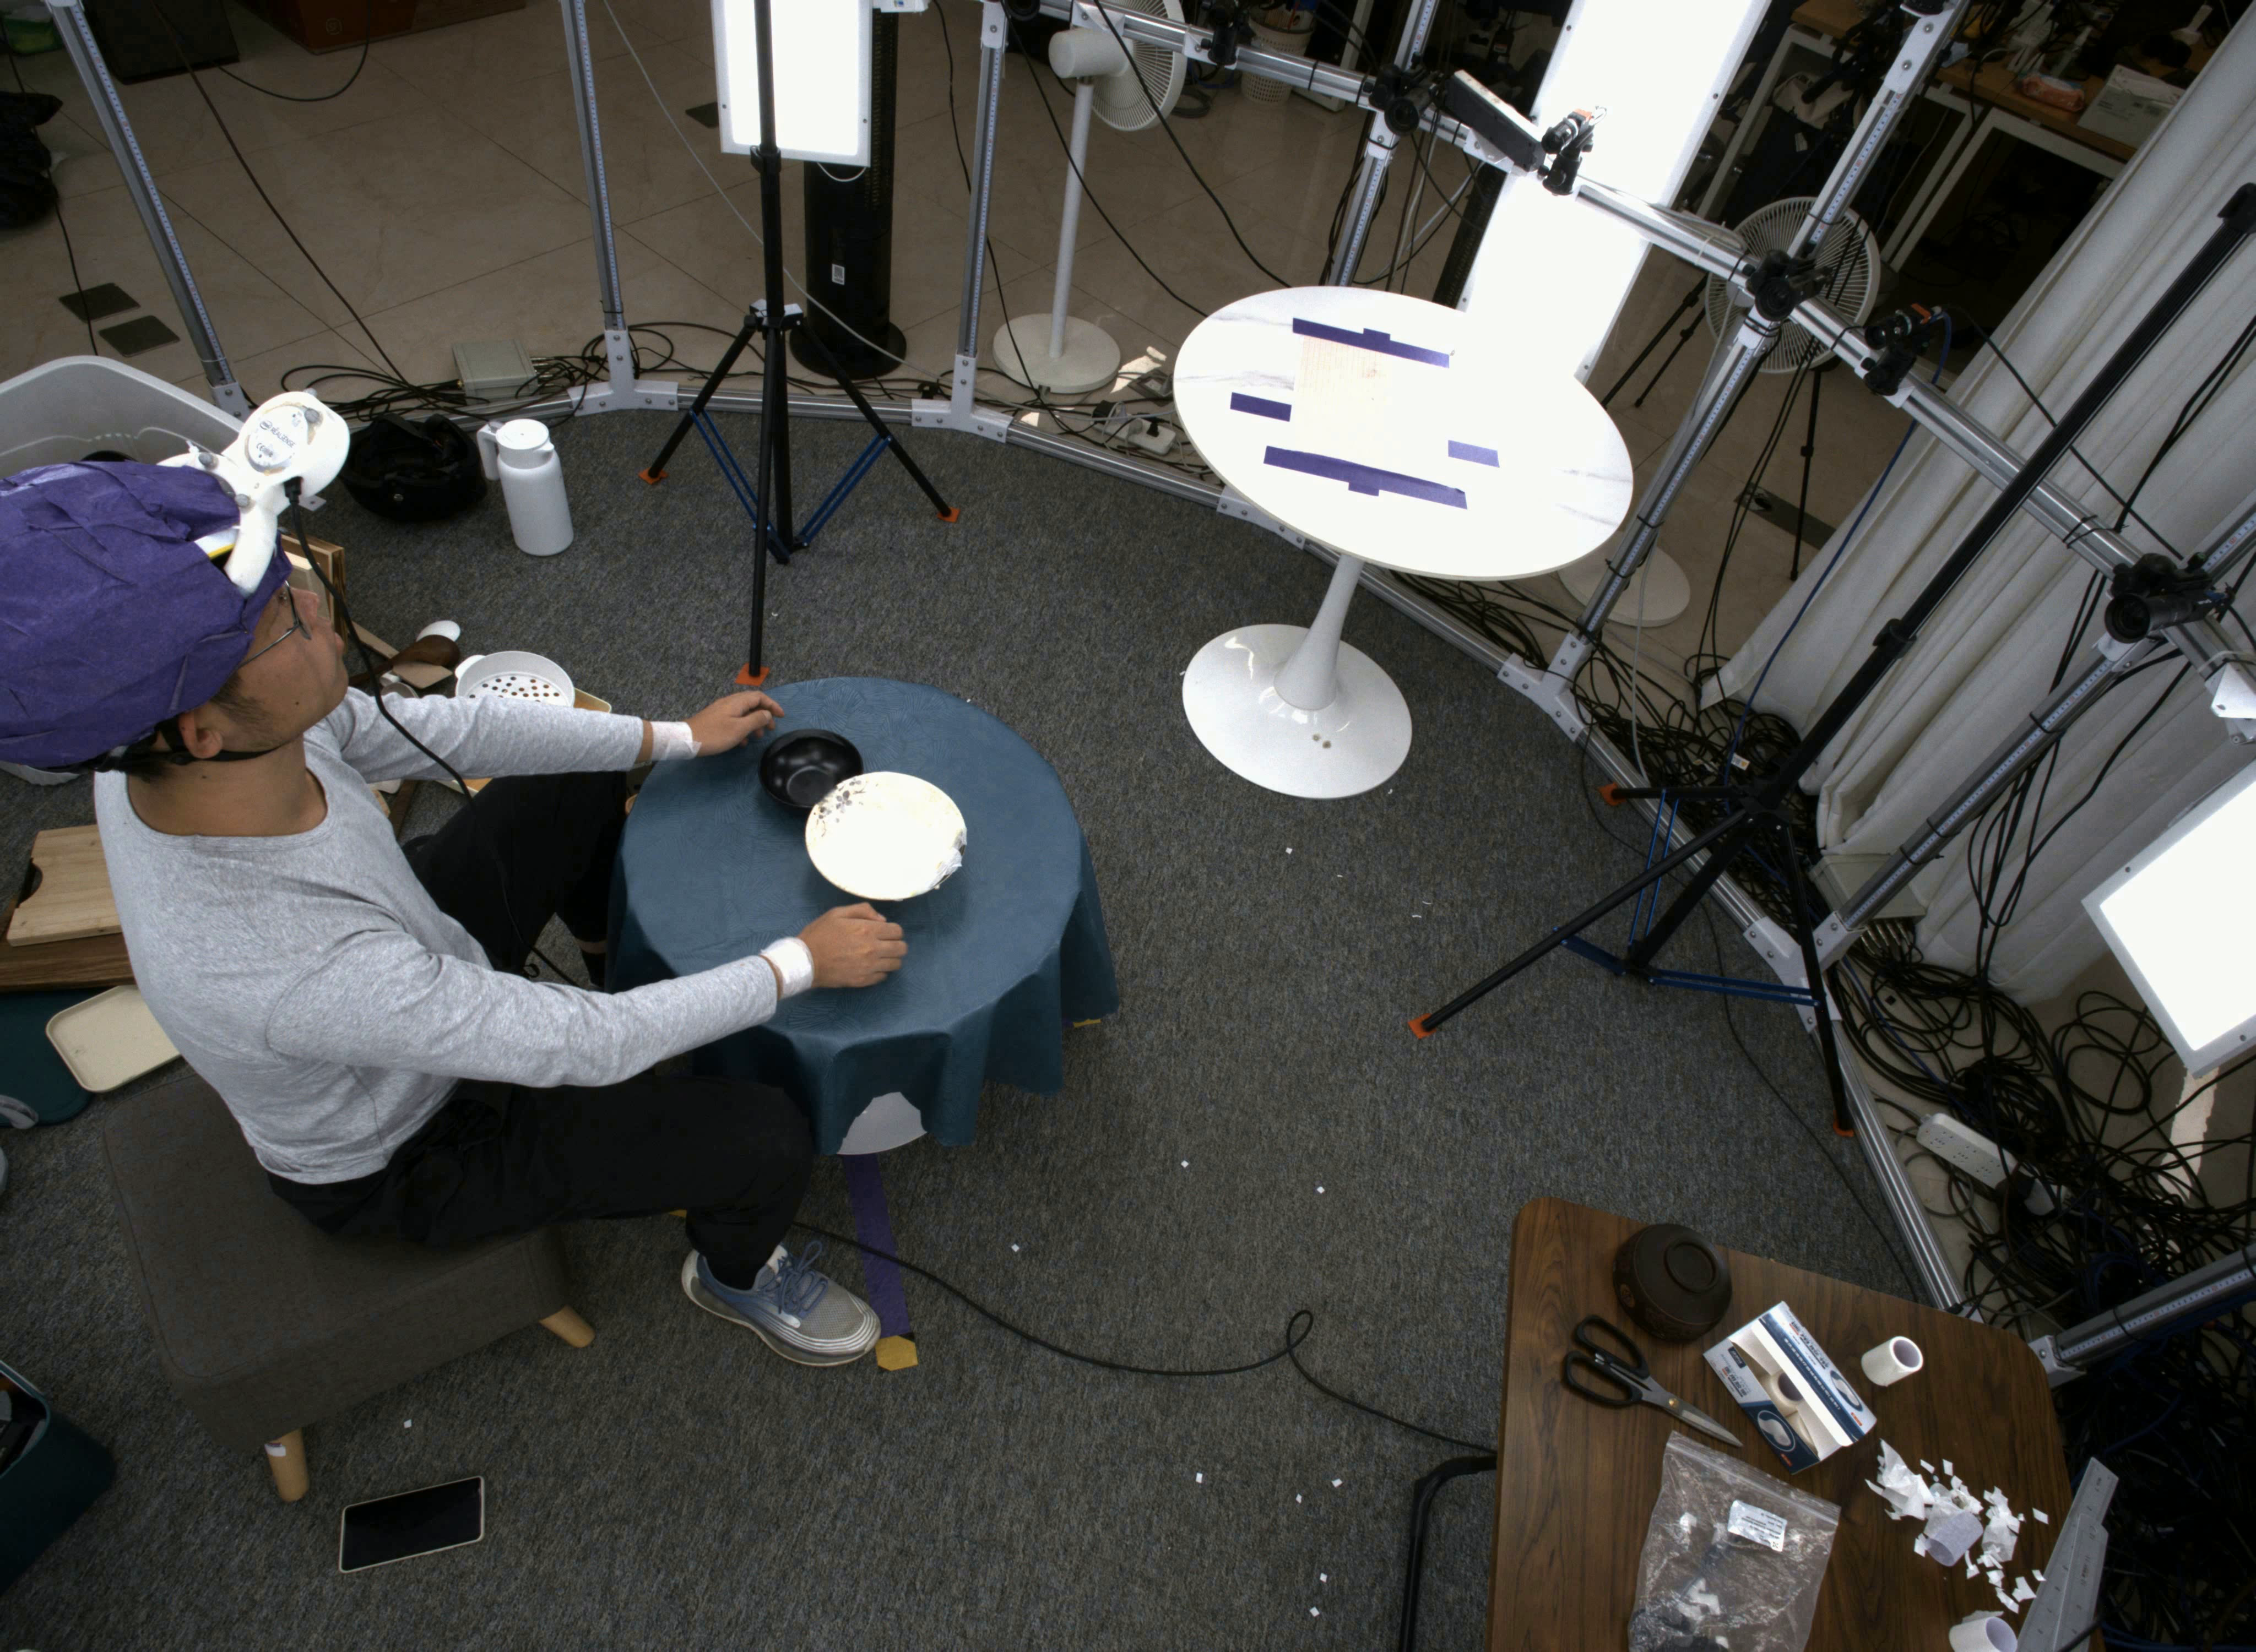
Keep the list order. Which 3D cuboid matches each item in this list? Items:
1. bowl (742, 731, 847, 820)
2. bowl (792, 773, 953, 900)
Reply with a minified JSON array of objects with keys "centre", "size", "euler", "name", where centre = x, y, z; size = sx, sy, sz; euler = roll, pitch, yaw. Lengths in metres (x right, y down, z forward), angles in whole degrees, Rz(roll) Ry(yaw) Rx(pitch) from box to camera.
[{"centre":[-0.447,-0.060,1.746],"size":[0.139,0.051,0.137],"euler":[4,55,-4],"name":"bowl"},{"centre":[-0.330,0.032,1.685],"size":[0.203,0.079,0.200],"euler":[7,52,-7],"name":"bowl"}]
